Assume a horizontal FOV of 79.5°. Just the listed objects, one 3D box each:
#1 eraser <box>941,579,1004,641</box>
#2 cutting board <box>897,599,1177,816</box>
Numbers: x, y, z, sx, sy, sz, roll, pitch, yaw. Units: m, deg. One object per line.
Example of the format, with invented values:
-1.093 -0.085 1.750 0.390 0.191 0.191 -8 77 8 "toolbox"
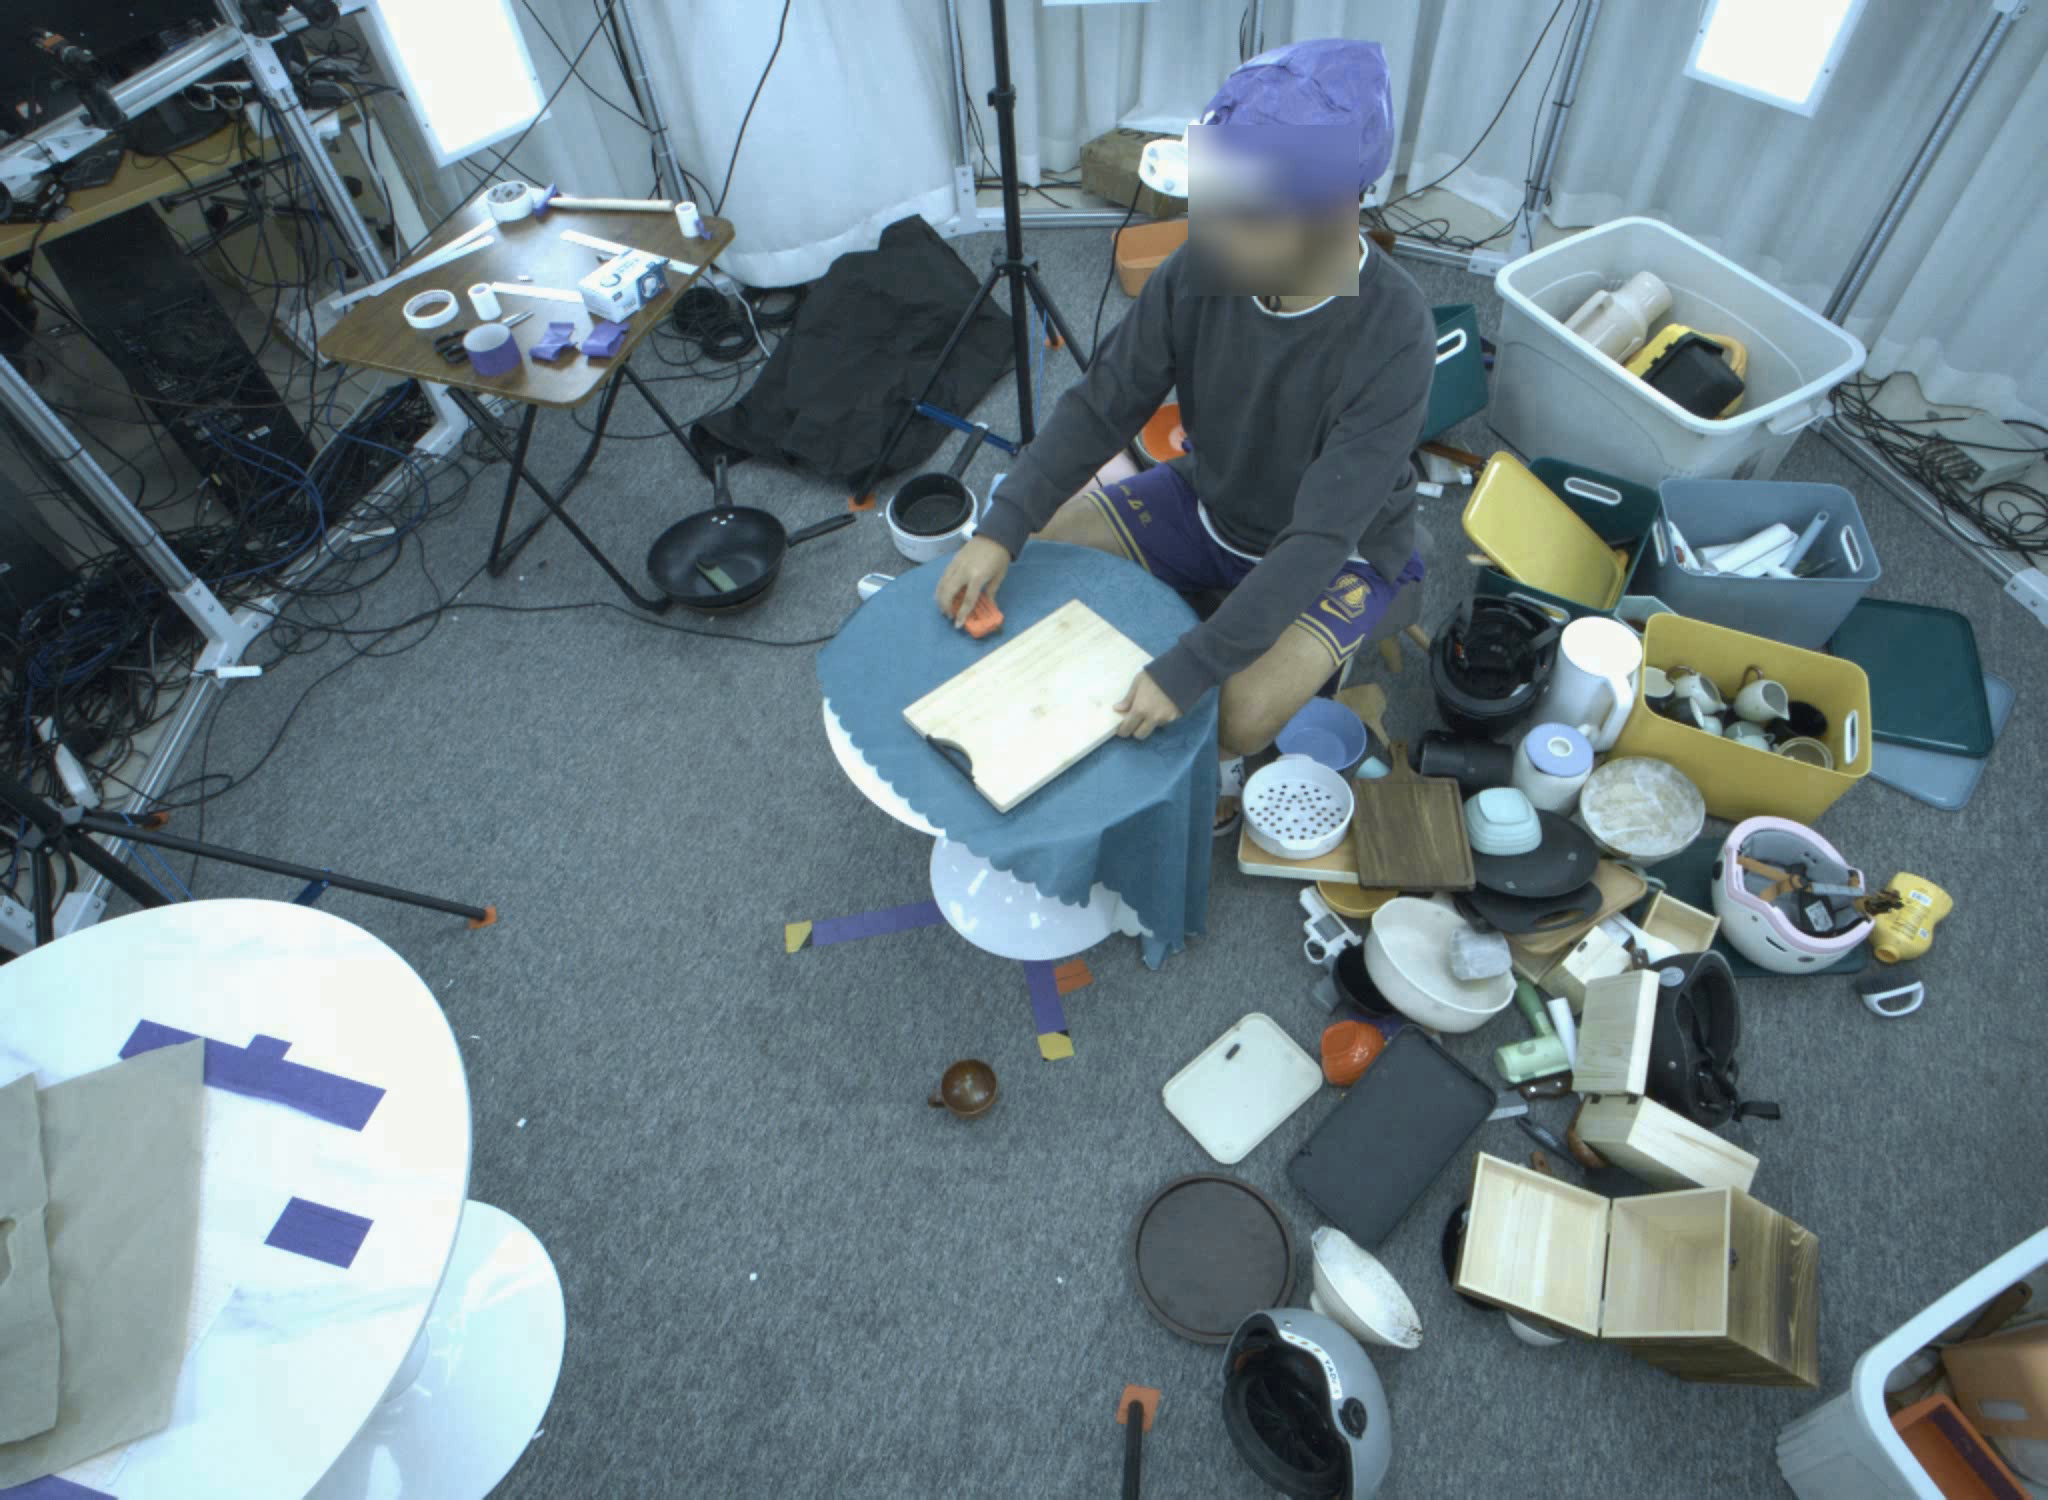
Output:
-0.082 -0.222 1.936 0.059 0.023 0.106 -30 59 -18 "eraser"
0.021 -0.072 1.823 0.351 0.024 0.245 -36 57 -21 "cutting board"
